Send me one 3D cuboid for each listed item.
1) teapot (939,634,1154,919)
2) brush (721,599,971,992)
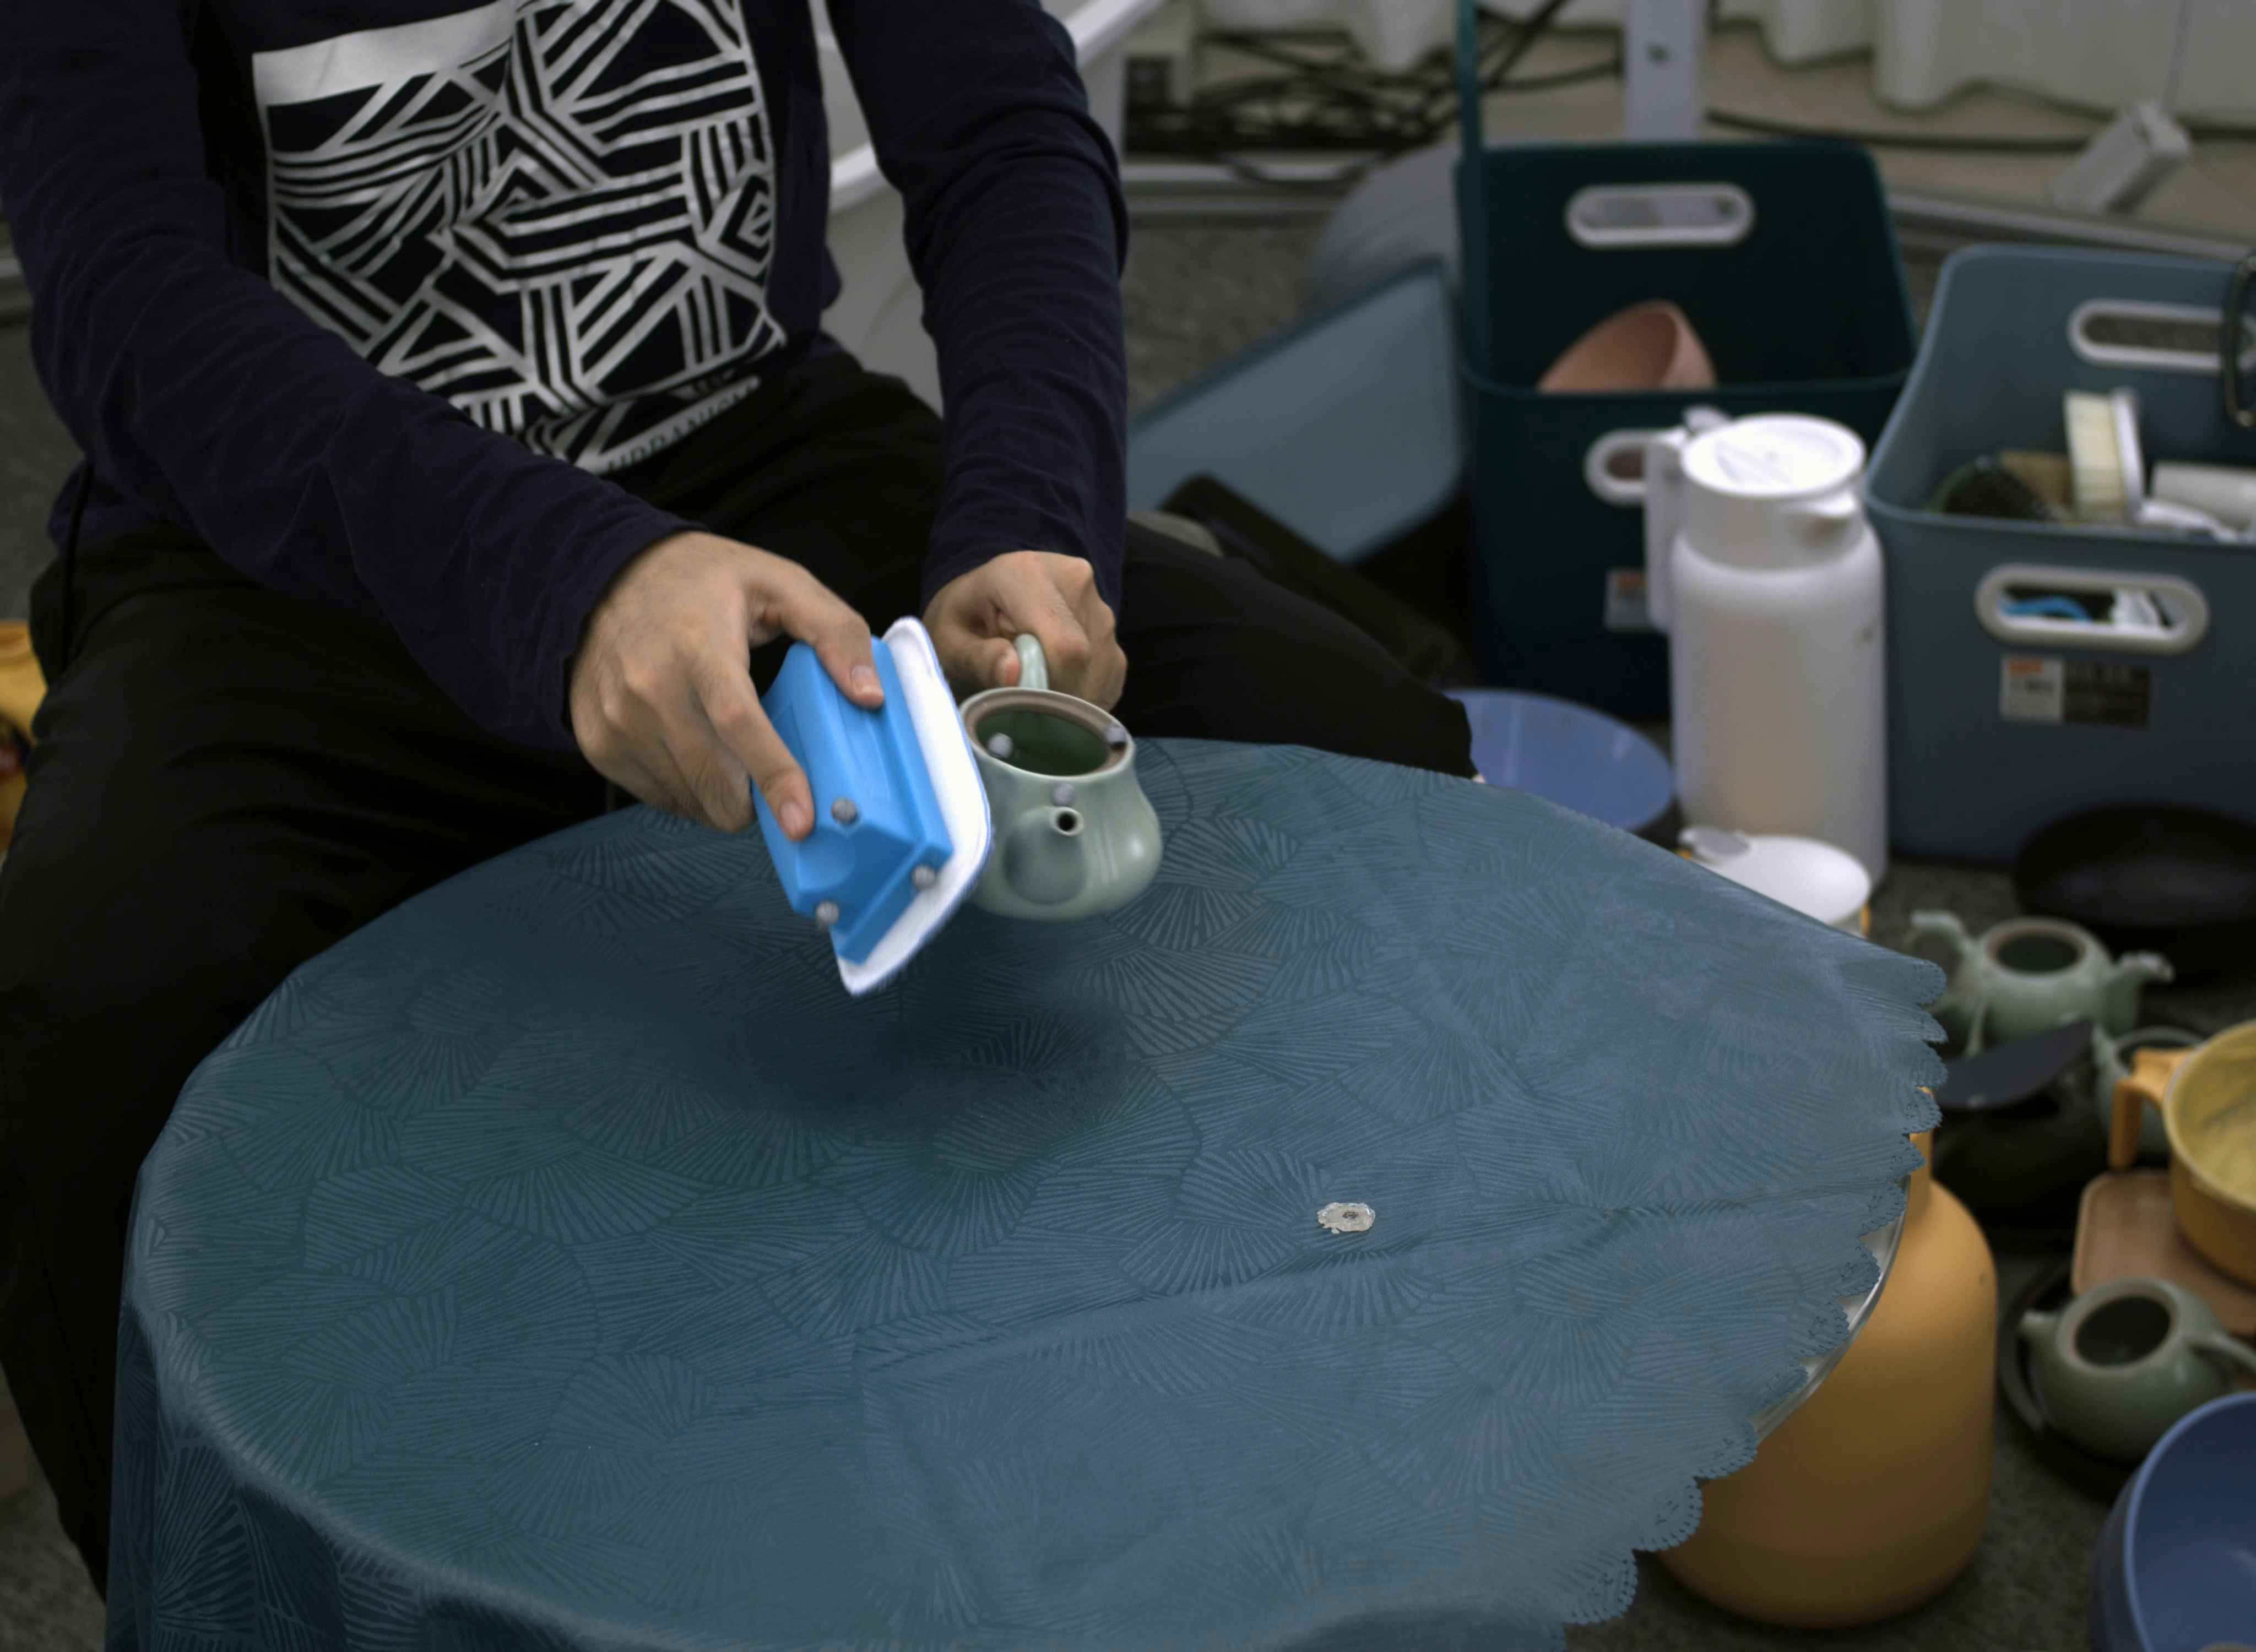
[{"bbox_3d":[-0.037,-0.012,1.927,0.096,0.060,0.139,5,30,-13],"label":"teapot"},{"bbox_3d":[-0.102,-0.016,1.898,0.055,0.083,0.146,28,27,-36],"label":"brush"}]
